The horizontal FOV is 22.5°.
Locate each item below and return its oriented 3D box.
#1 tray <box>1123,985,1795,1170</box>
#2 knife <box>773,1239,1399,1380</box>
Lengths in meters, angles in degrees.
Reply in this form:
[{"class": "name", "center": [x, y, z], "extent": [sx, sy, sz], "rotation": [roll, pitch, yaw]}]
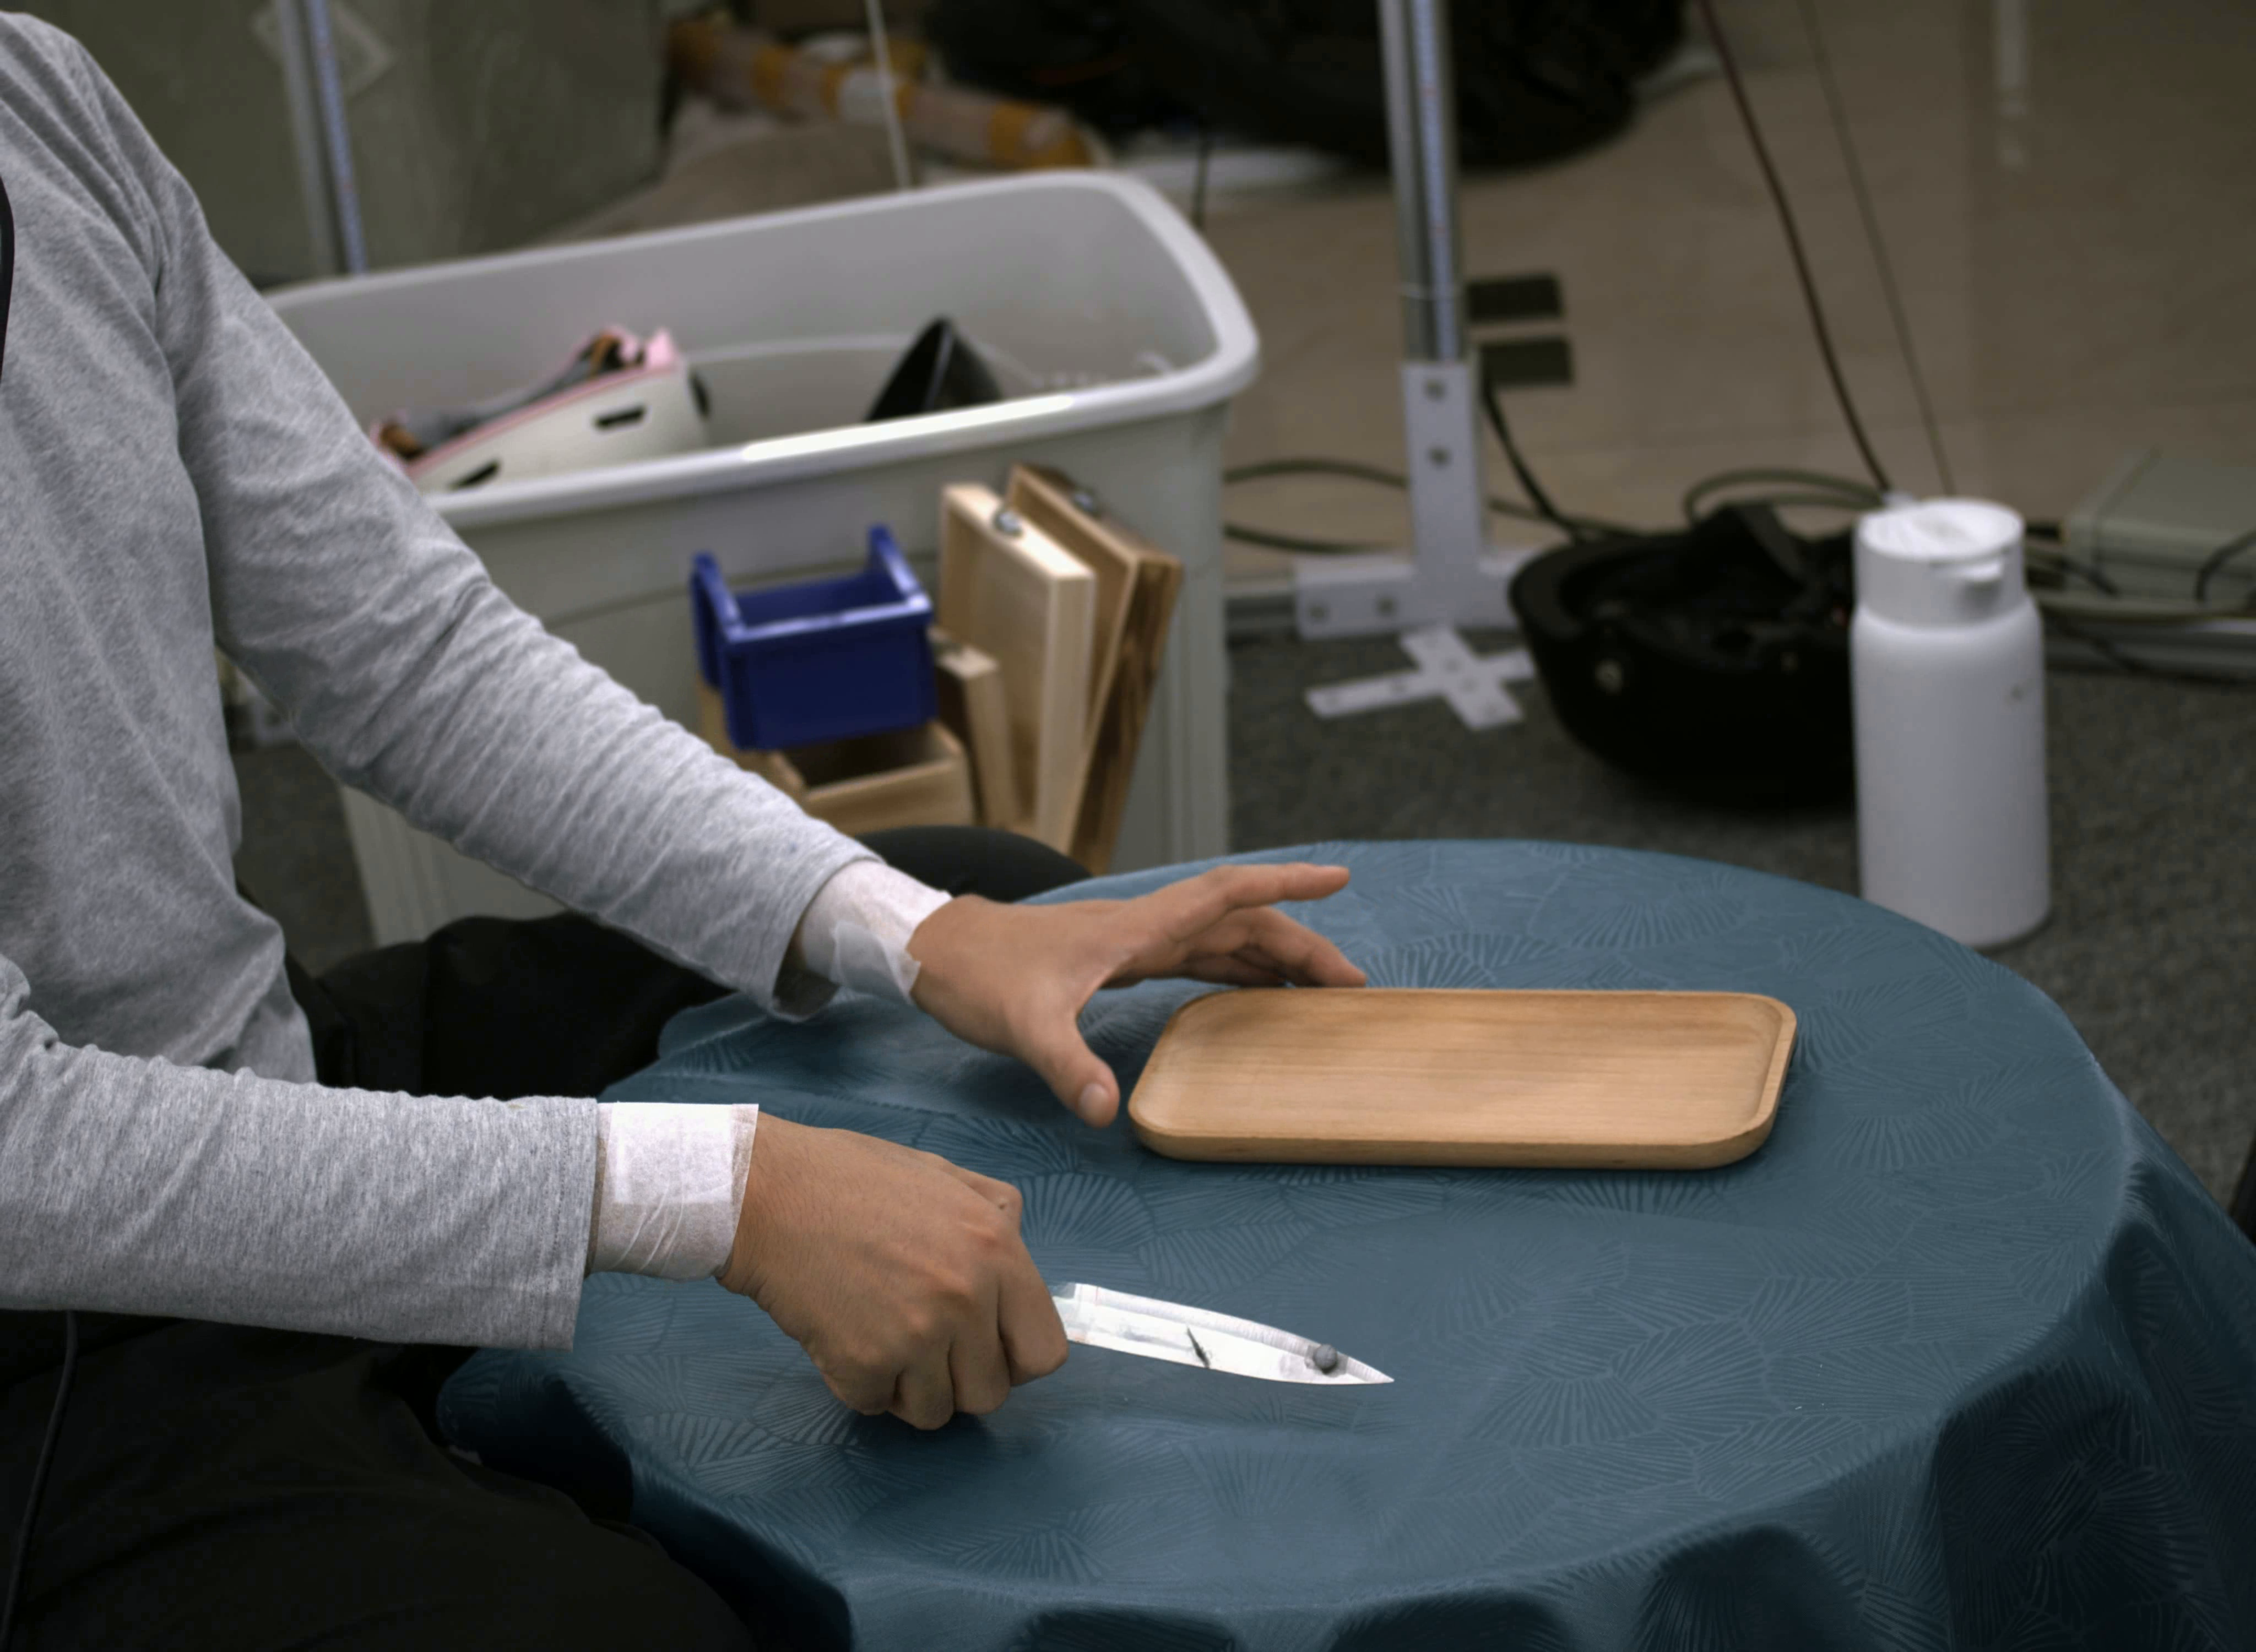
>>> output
[{"class": "tray", "center": [0.128, 0.097, 2.191], "extent": [0.250, 0.023, 0.129], "rotation": [0, 23, 16]}, {"class": "knife", "center": [-0.018, 0.175, 2.015], "extent": [0.237, 0.016, 0.024], "rotation": [9, 67, 18]}]
